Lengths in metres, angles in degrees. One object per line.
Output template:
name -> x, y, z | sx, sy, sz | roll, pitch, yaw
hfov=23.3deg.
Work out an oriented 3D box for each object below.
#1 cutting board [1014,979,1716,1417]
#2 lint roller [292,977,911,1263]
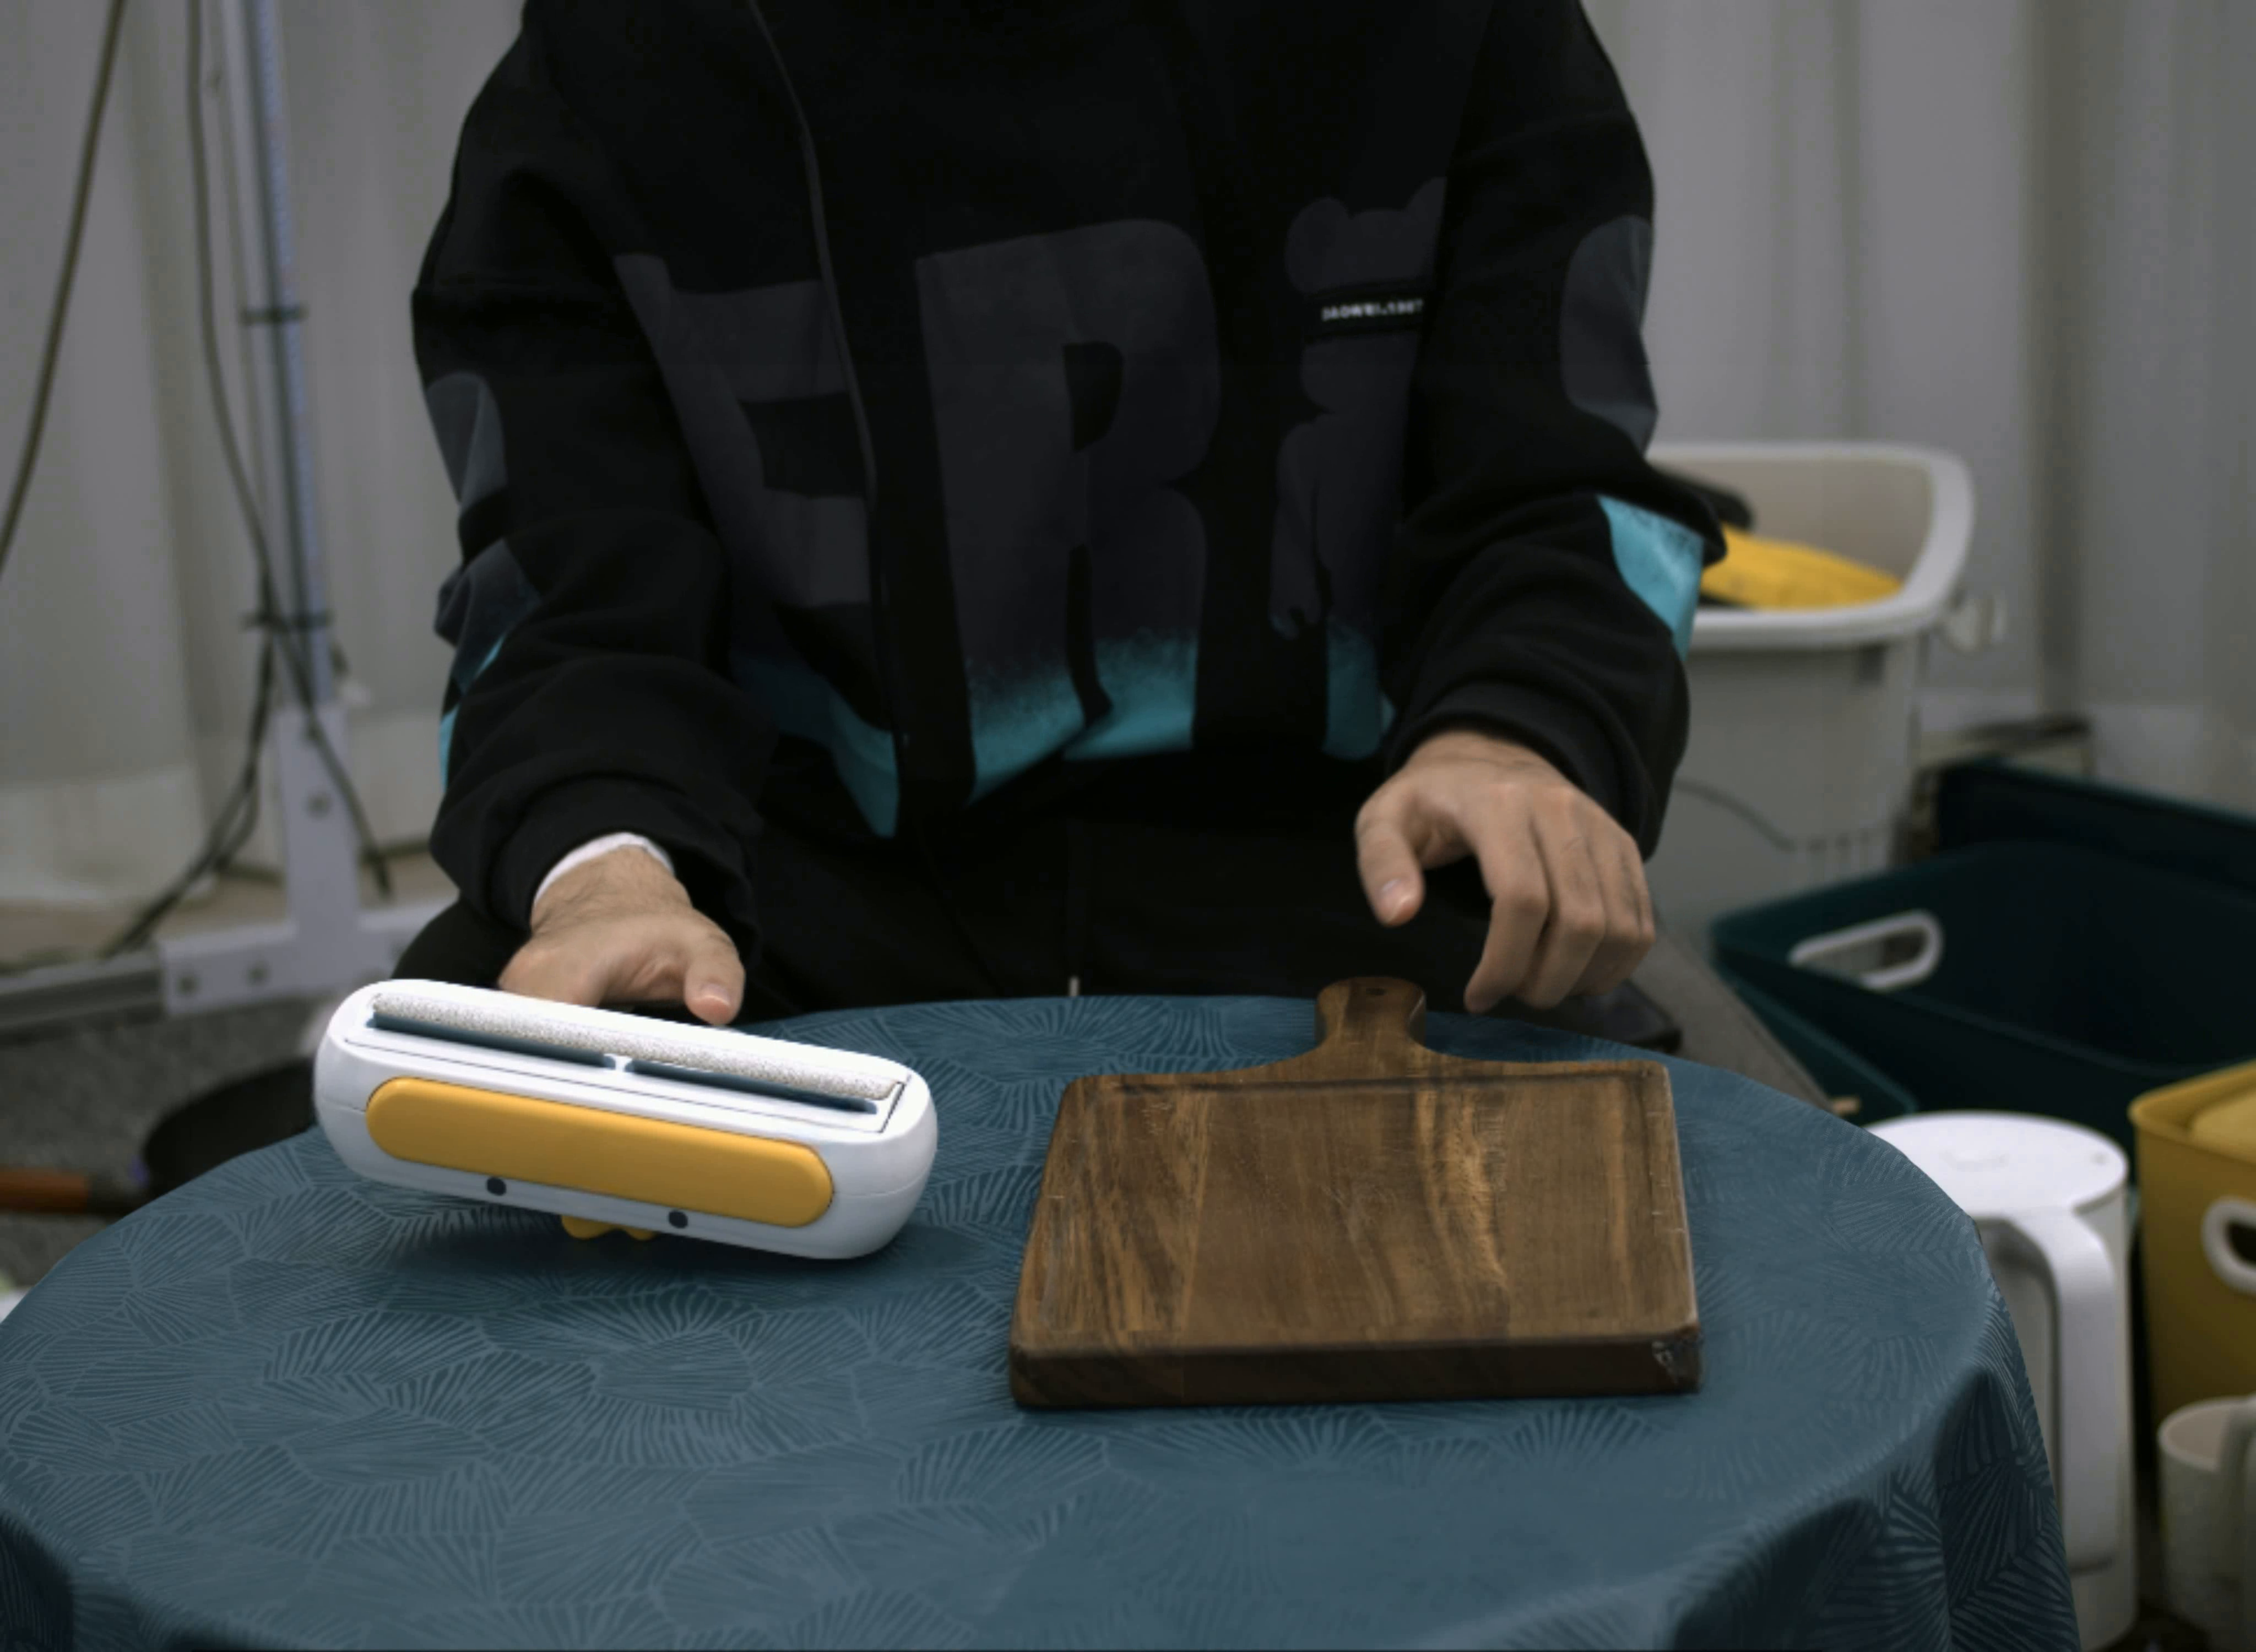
cutting board -> 0.072, 0.107, 1.689 | 0.200, 0.023, 0.354 | -2, 15, 4
lint roller -> -0.149, 0.082, 1.736 | 0.193, 0.074, 0.193 | 6, 15, 12
